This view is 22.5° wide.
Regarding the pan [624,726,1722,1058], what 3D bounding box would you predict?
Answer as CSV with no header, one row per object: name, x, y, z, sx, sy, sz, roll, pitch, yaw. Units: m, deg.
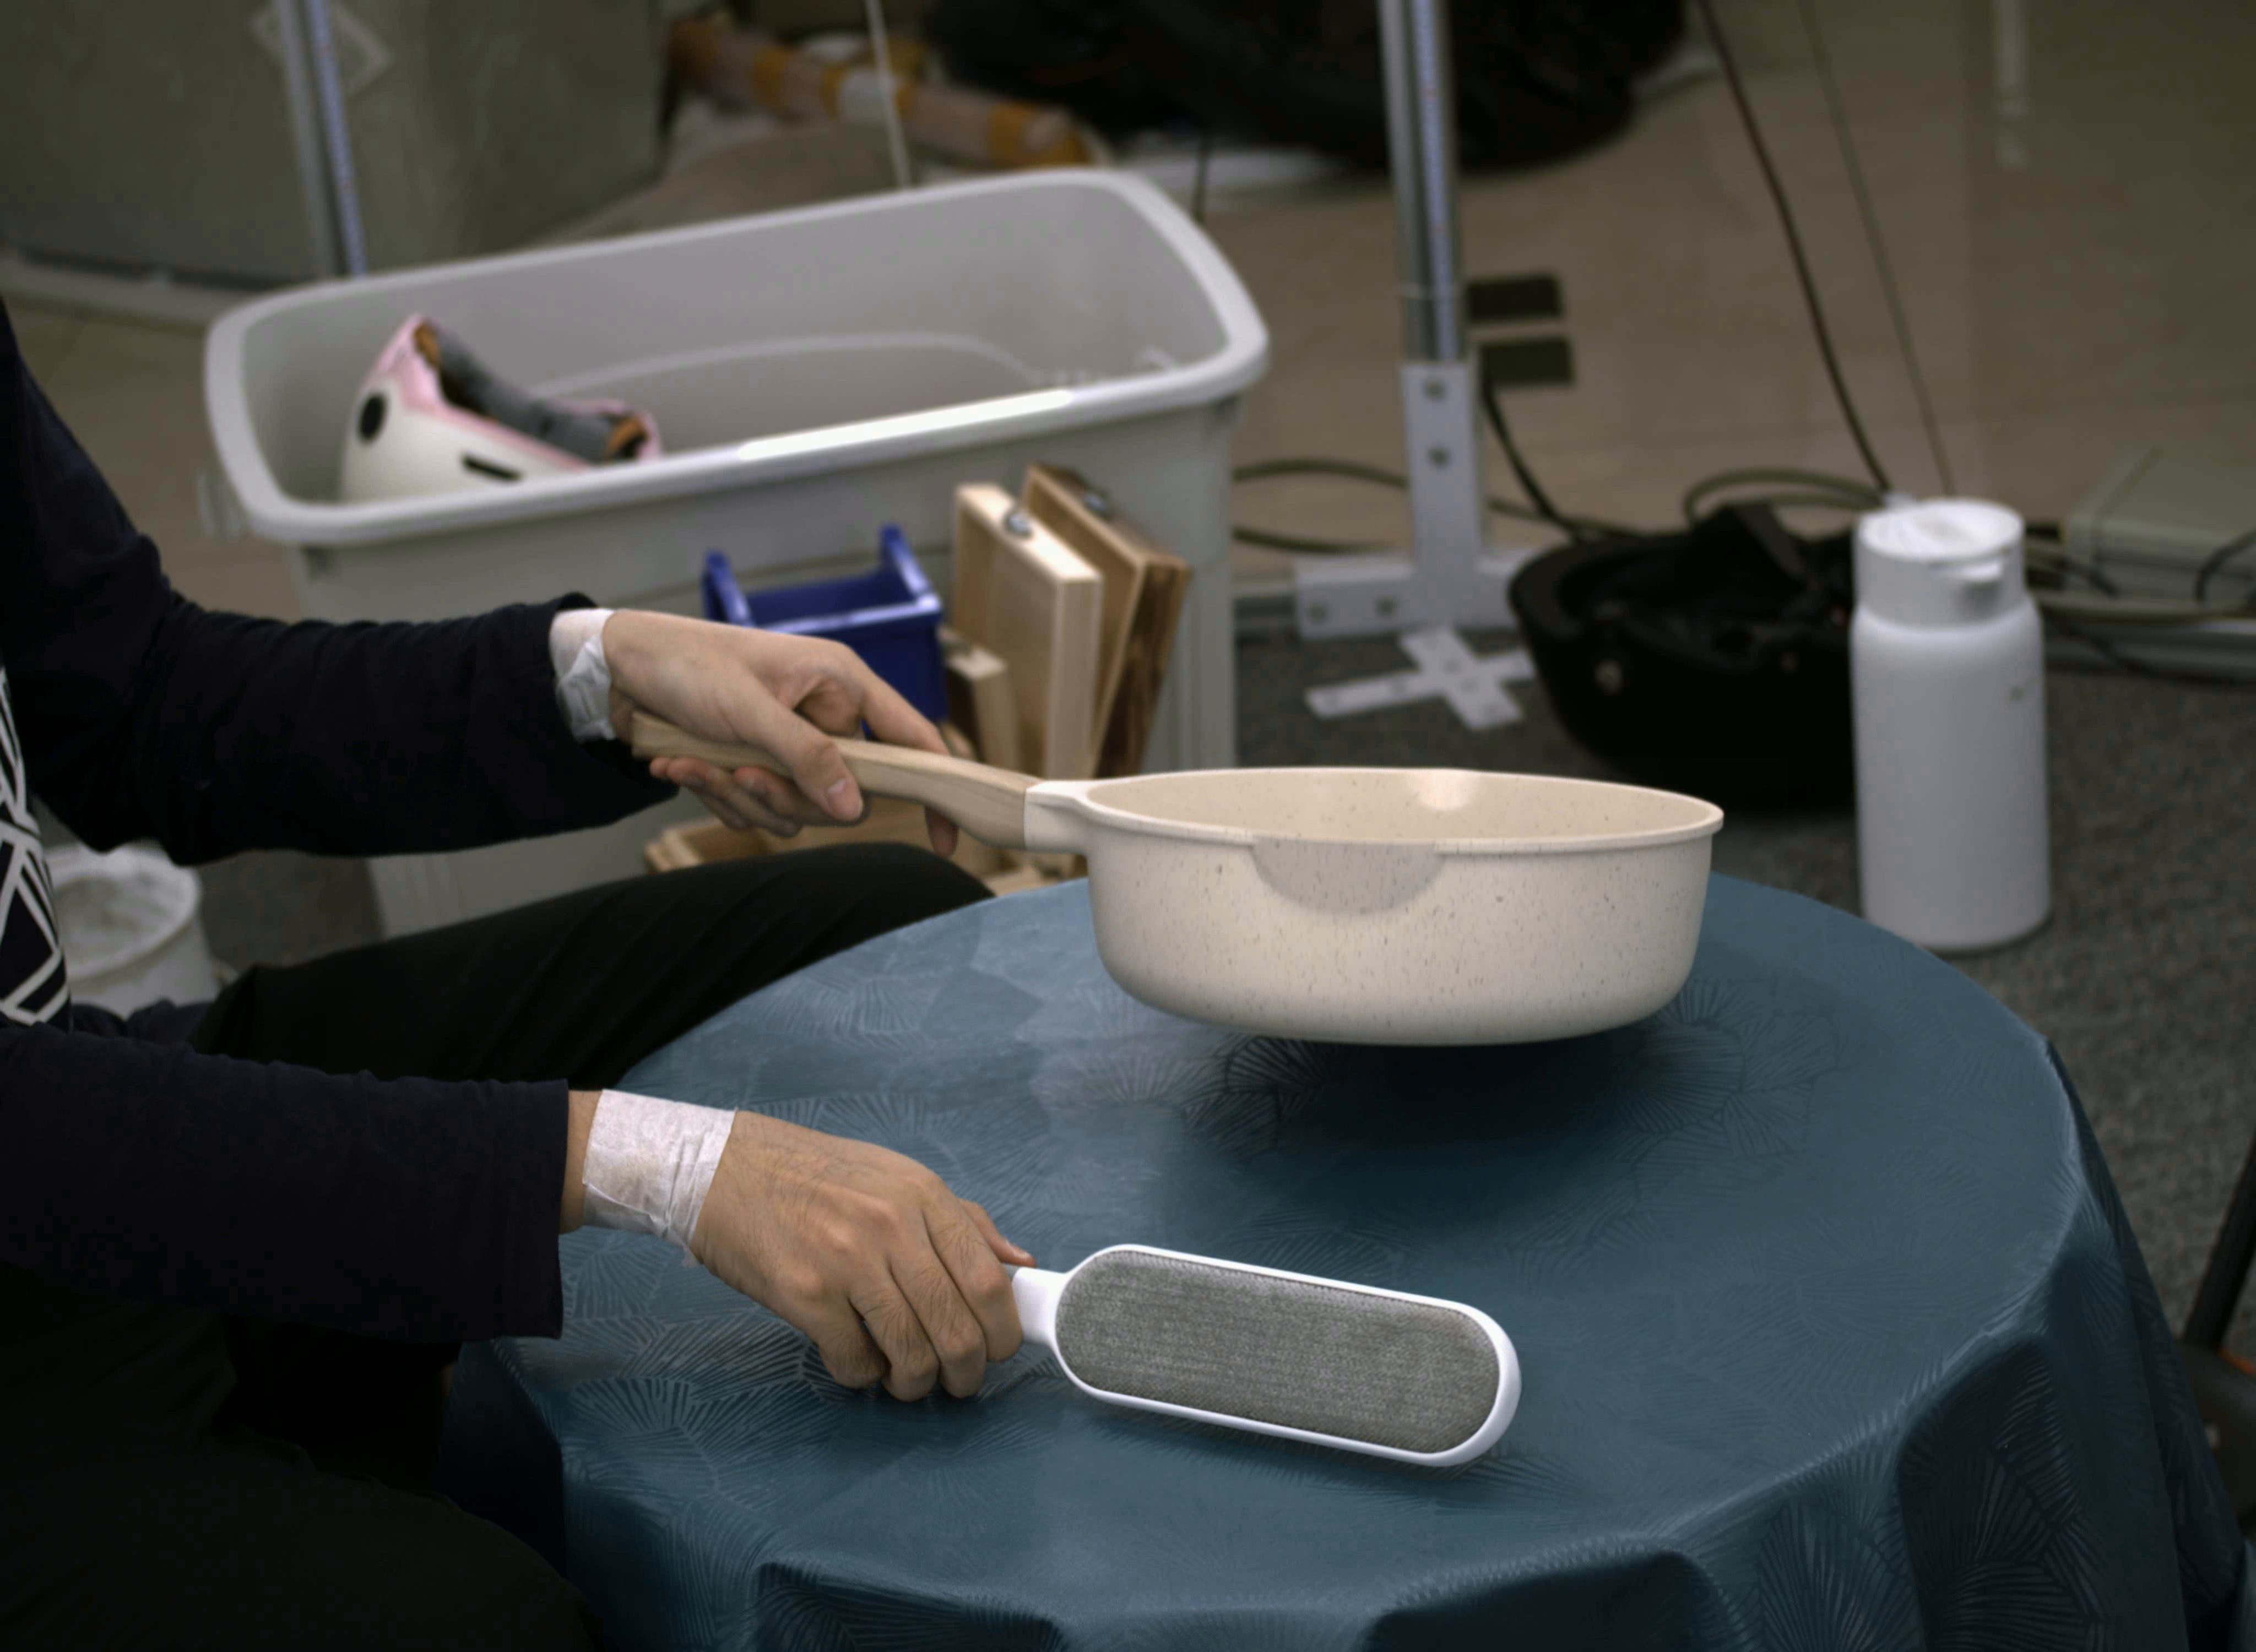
pan,0.013,0.019,2.216,0.434,0.103,0.261,3,10,11

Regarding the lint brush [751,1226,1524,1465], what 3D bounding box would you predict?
lint brush,-0.002,0.174,2.003,0.307,0.060,0.021,8,-9,29
